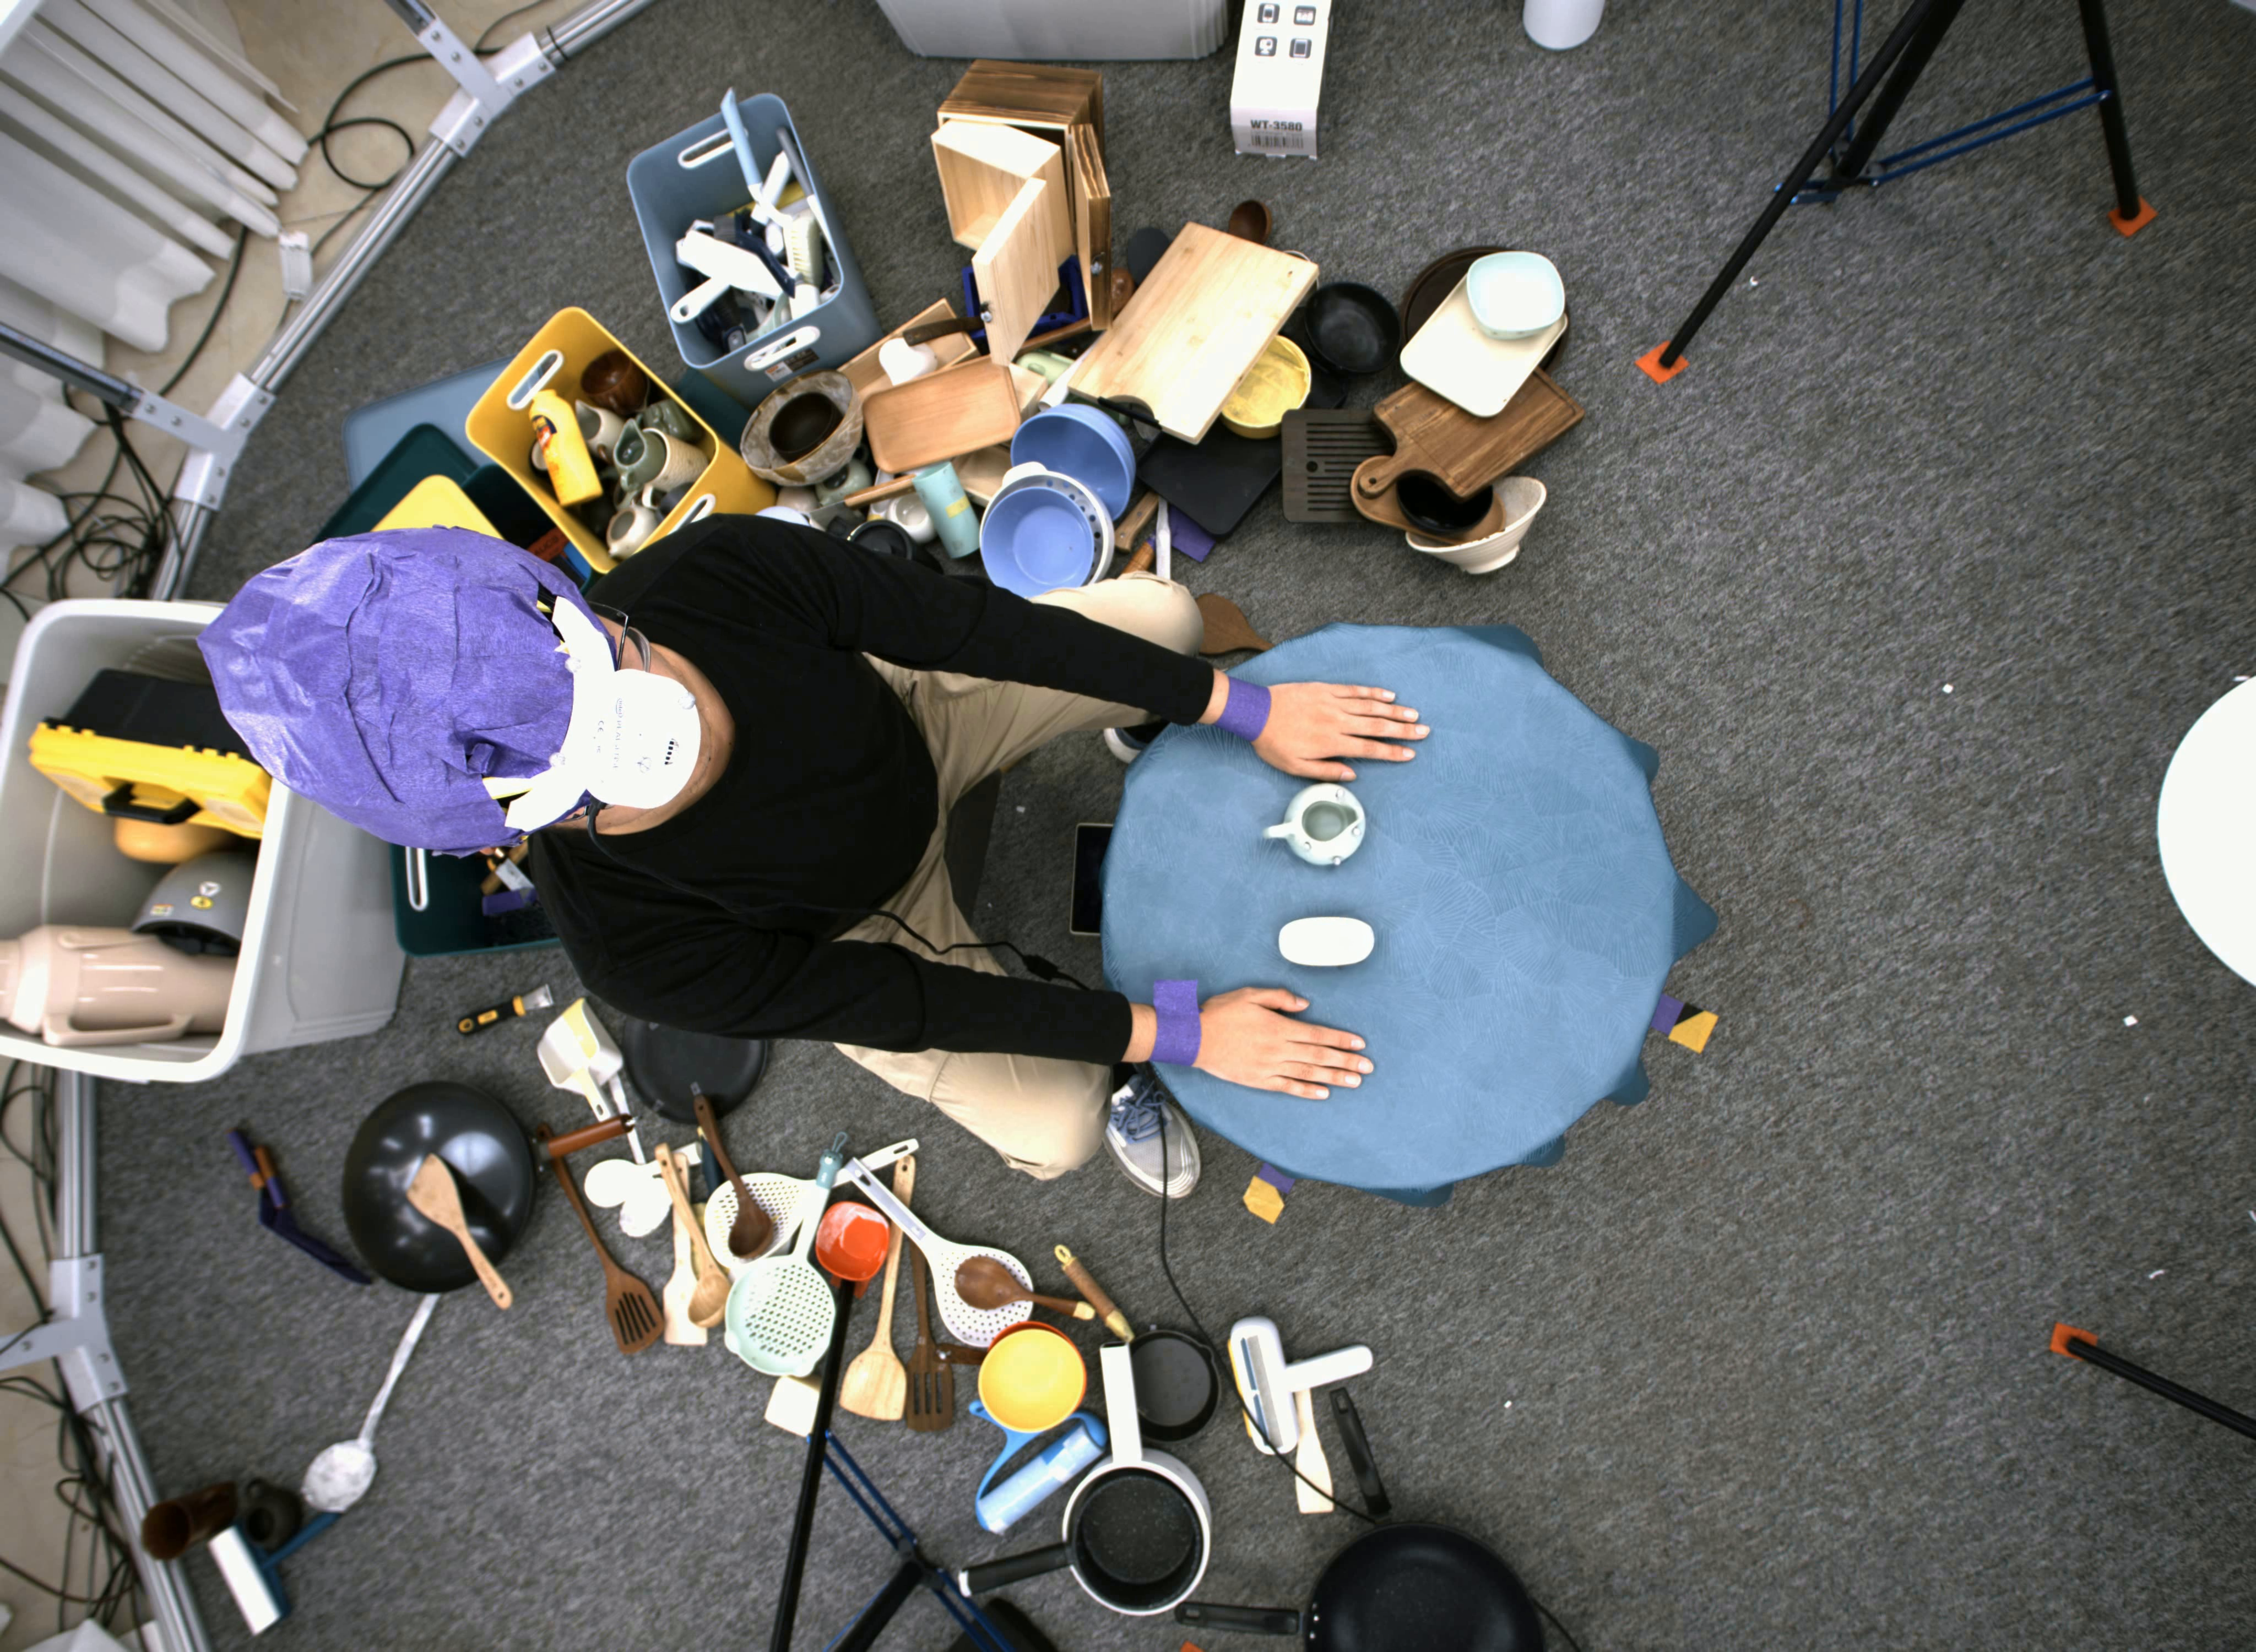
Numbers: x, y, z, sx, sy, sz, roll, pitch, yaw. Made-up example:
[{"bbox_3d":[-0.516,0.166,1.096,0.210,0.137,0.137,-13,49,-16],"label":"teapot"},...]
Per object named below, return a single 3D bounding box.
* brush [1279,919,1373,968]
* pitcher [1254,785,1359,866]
[{"bbox_3d":[0.204,0.120,1.431,0.099,0.073,0.050,1,84,9],"label":"brush"},{"bbox_3d":[0.183,-0.001,1.447,0.108,0.060,0.086,2,97,-6],"label":"pitcher"}]
